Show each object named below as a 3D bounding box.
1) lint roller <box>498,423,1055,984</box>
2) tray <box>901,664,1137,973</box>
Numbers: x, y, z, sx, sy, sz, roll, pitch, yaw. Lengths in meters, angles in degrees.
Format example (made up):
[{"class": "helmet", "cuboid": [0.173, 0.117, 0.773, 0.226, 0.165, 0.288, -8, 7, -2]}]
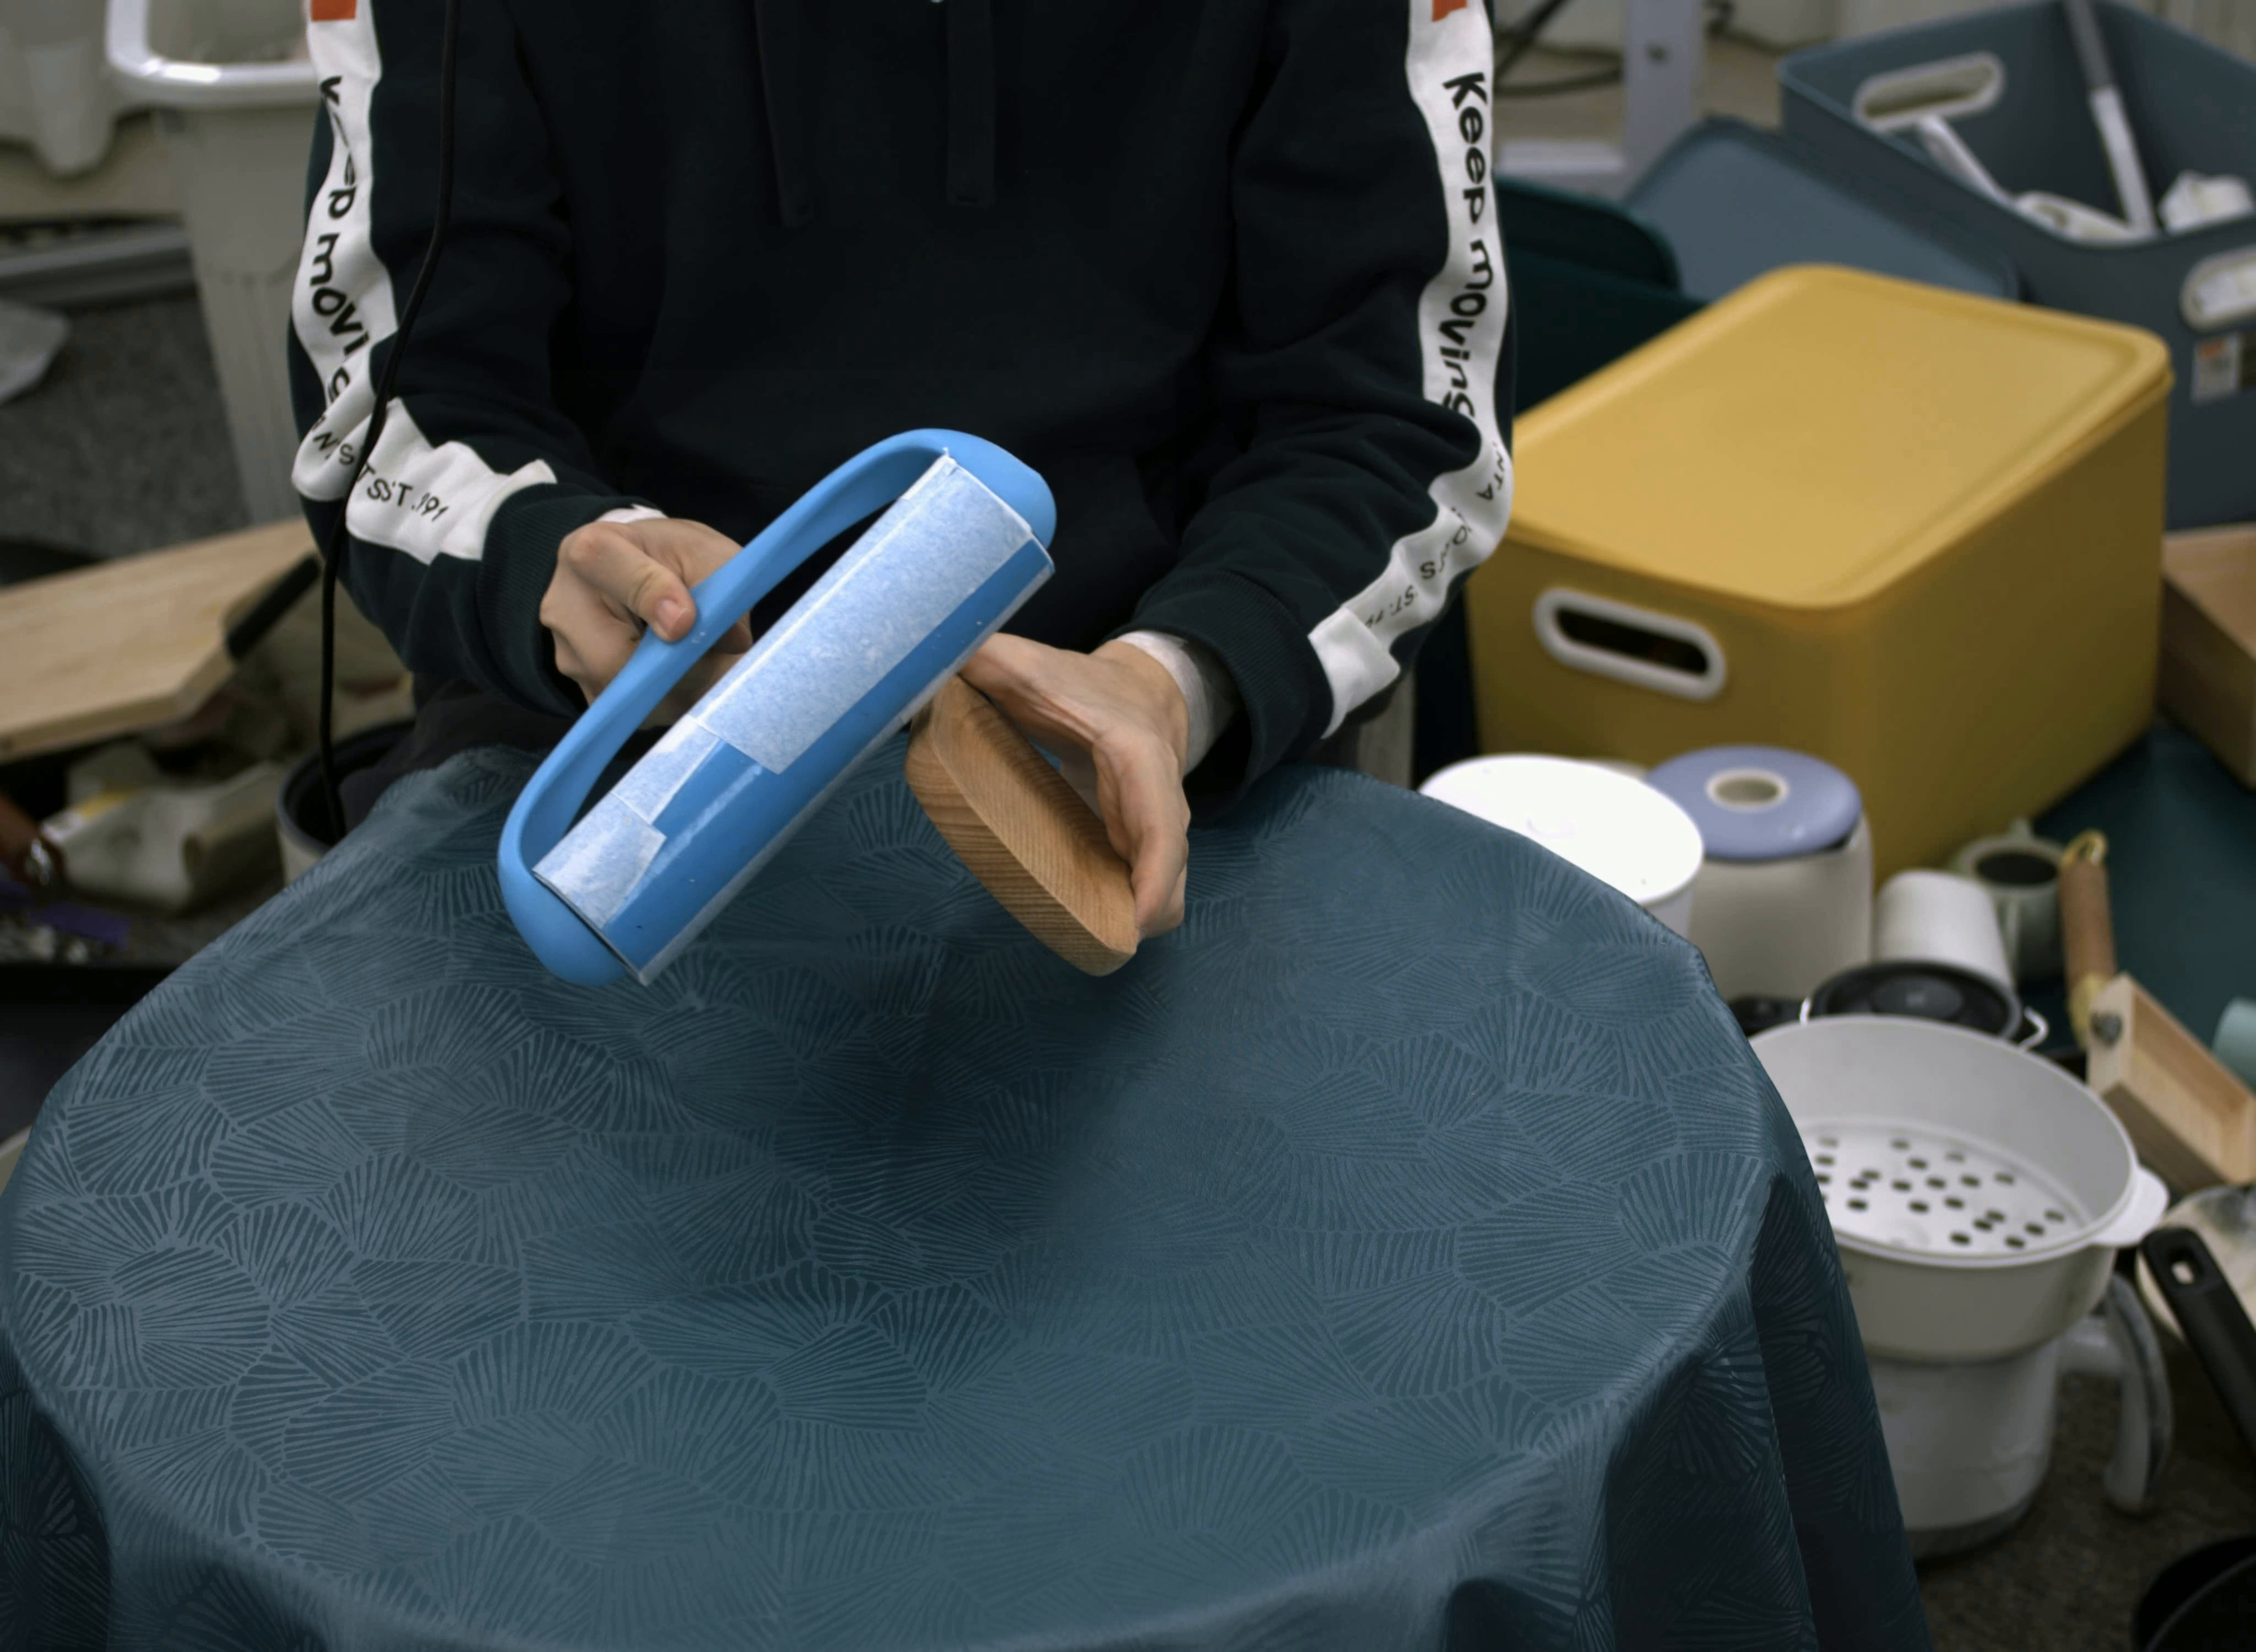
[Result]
[{"class": "lint roller", "cuboid": [-0.135, -0.048, 1.886, 0.230, 0.067, 0.180, -48, 25, -11]}, {"class": "tray", "cuboid": [-0.038, -0.003, 1.899, 0.020, 0.101, 0.232, -42, 8, 5]}]
